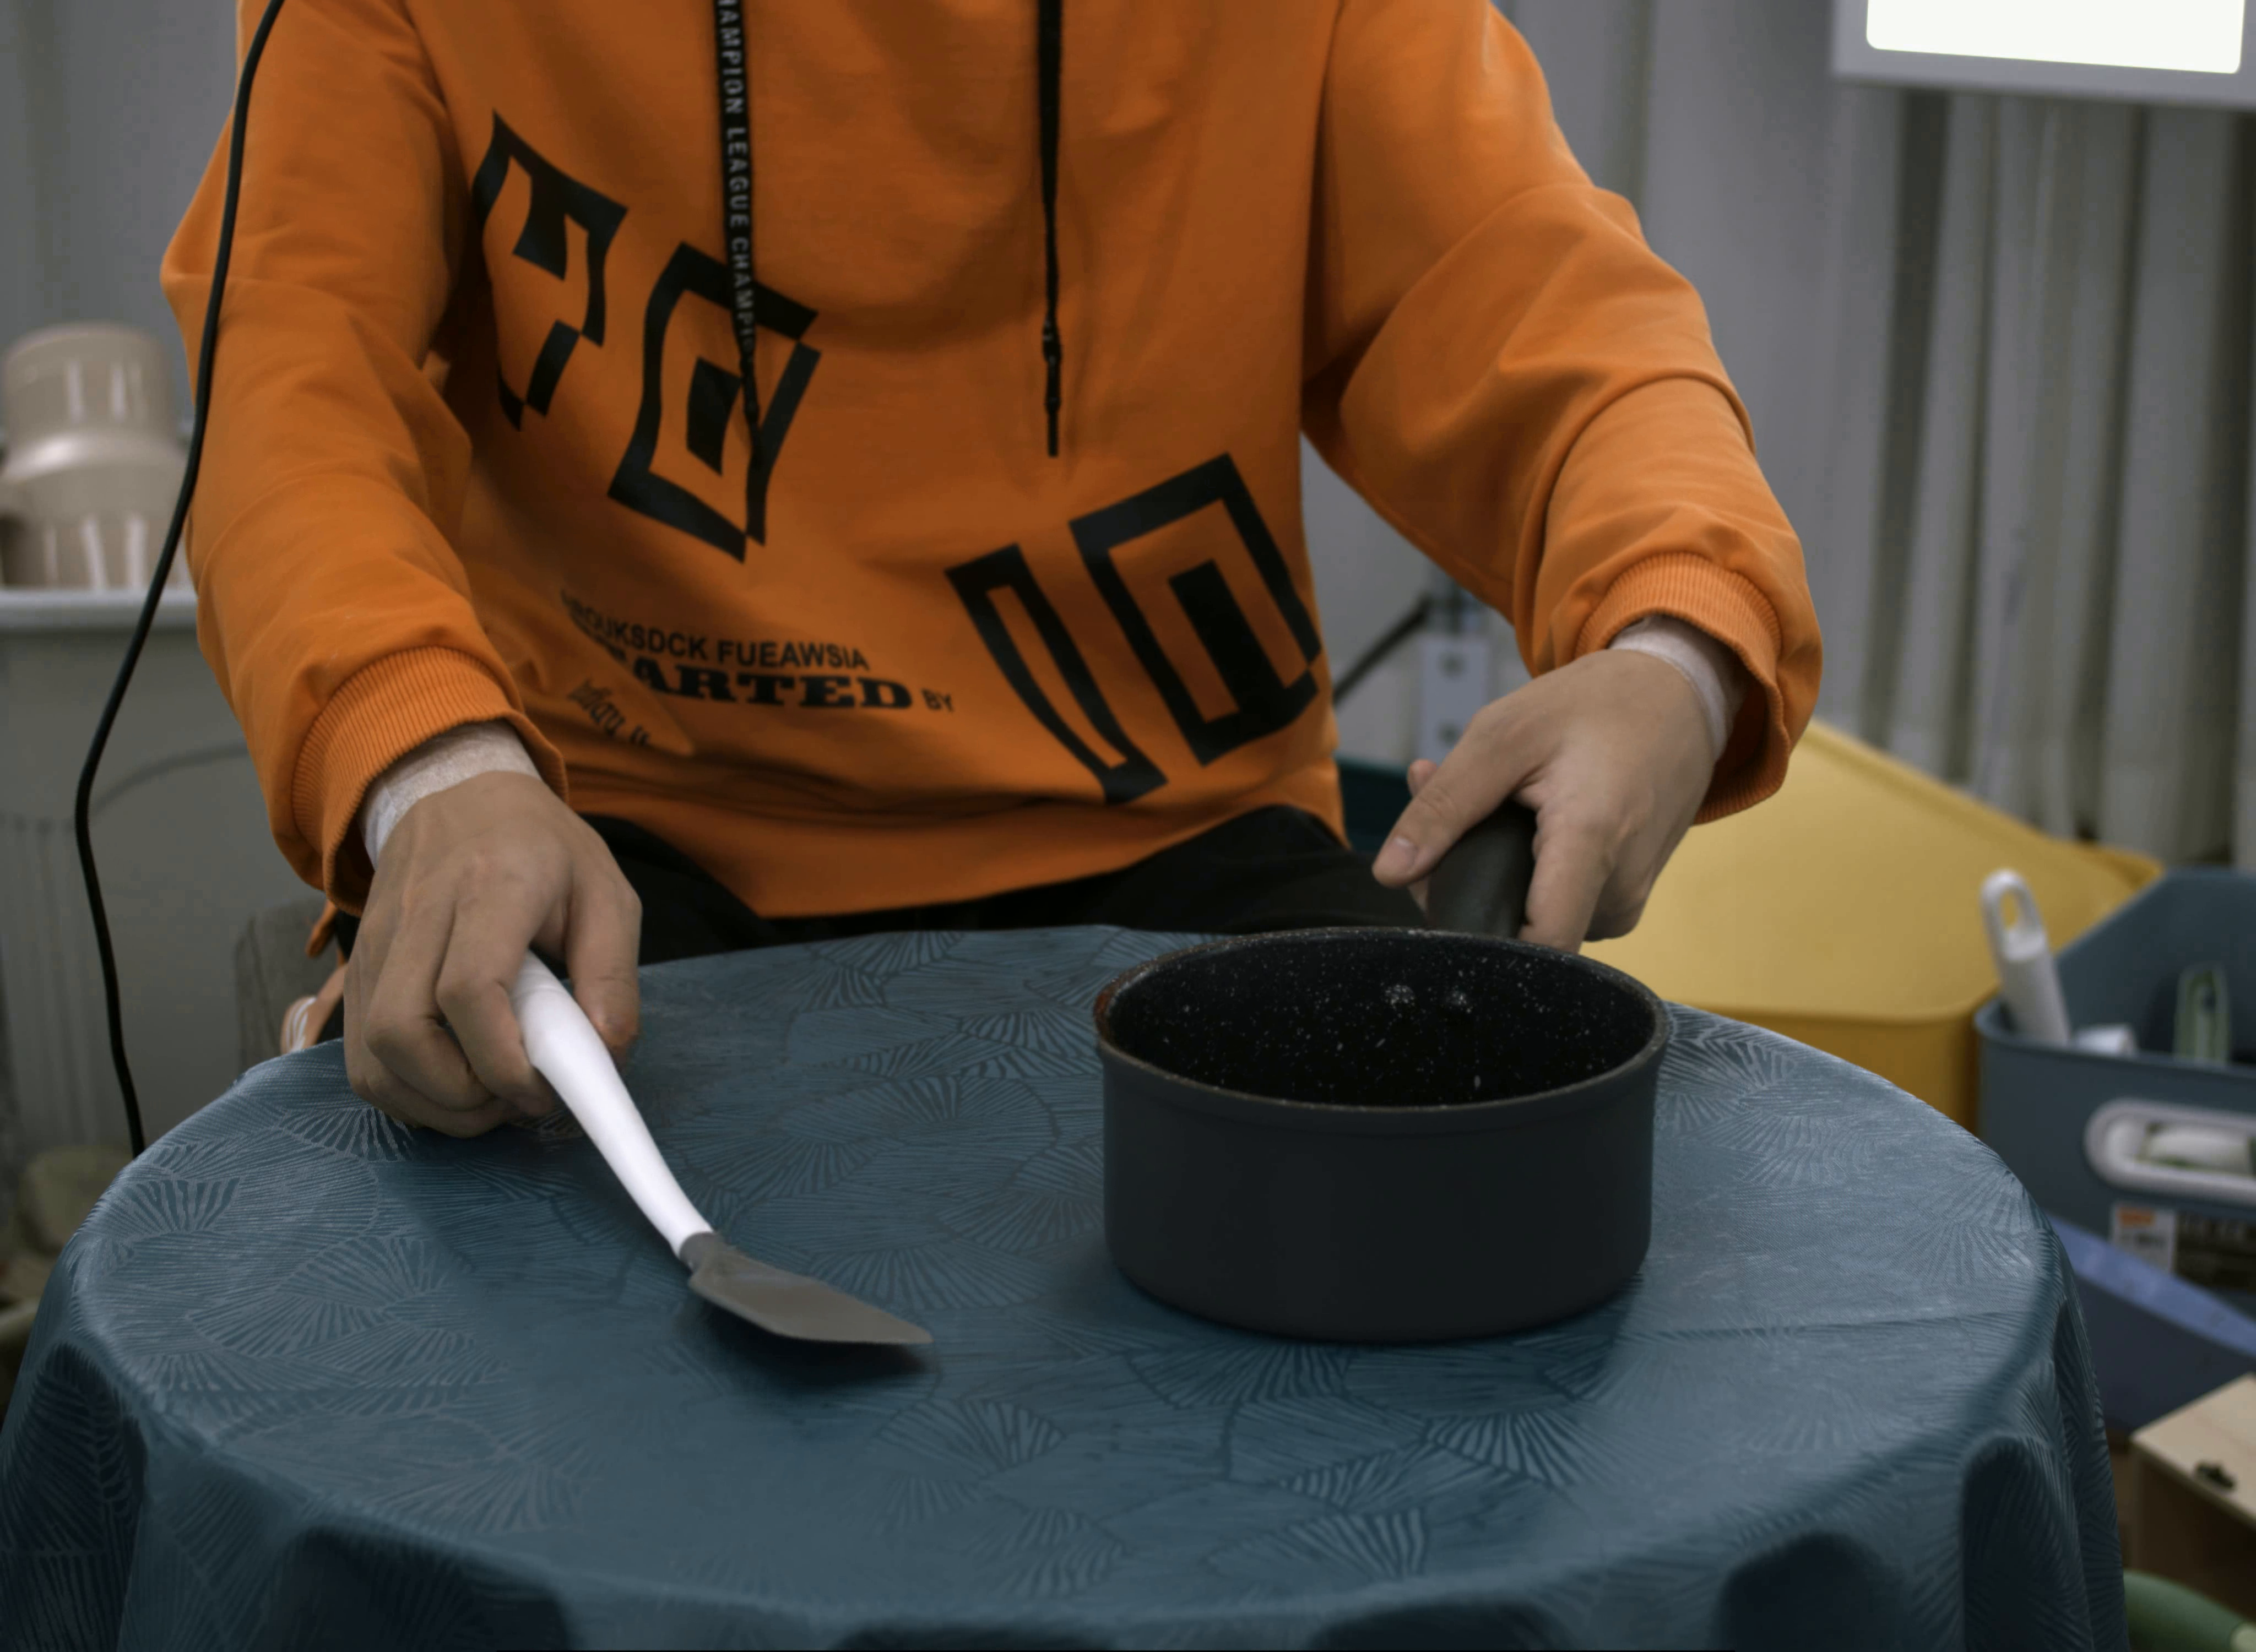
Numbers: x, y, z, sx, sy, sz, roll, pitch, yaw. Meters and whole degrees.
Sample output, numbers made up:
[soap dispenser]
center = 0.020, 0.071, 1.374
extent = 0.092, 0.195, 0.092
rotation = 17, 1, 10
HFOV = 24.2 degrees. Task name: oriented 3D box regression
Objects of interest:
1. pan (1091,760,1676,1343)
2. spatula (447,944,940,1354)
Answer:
[pan]
center = 0.098, 0.065, 1.630
extent = 0.170, 0.087, 0.328
rotation = 6, 19, 16
[spatula]
center = -0.139, 0.102, 1.572
extent = 0.059, 0.032, 0.284
rotation = 10, 16, -32
